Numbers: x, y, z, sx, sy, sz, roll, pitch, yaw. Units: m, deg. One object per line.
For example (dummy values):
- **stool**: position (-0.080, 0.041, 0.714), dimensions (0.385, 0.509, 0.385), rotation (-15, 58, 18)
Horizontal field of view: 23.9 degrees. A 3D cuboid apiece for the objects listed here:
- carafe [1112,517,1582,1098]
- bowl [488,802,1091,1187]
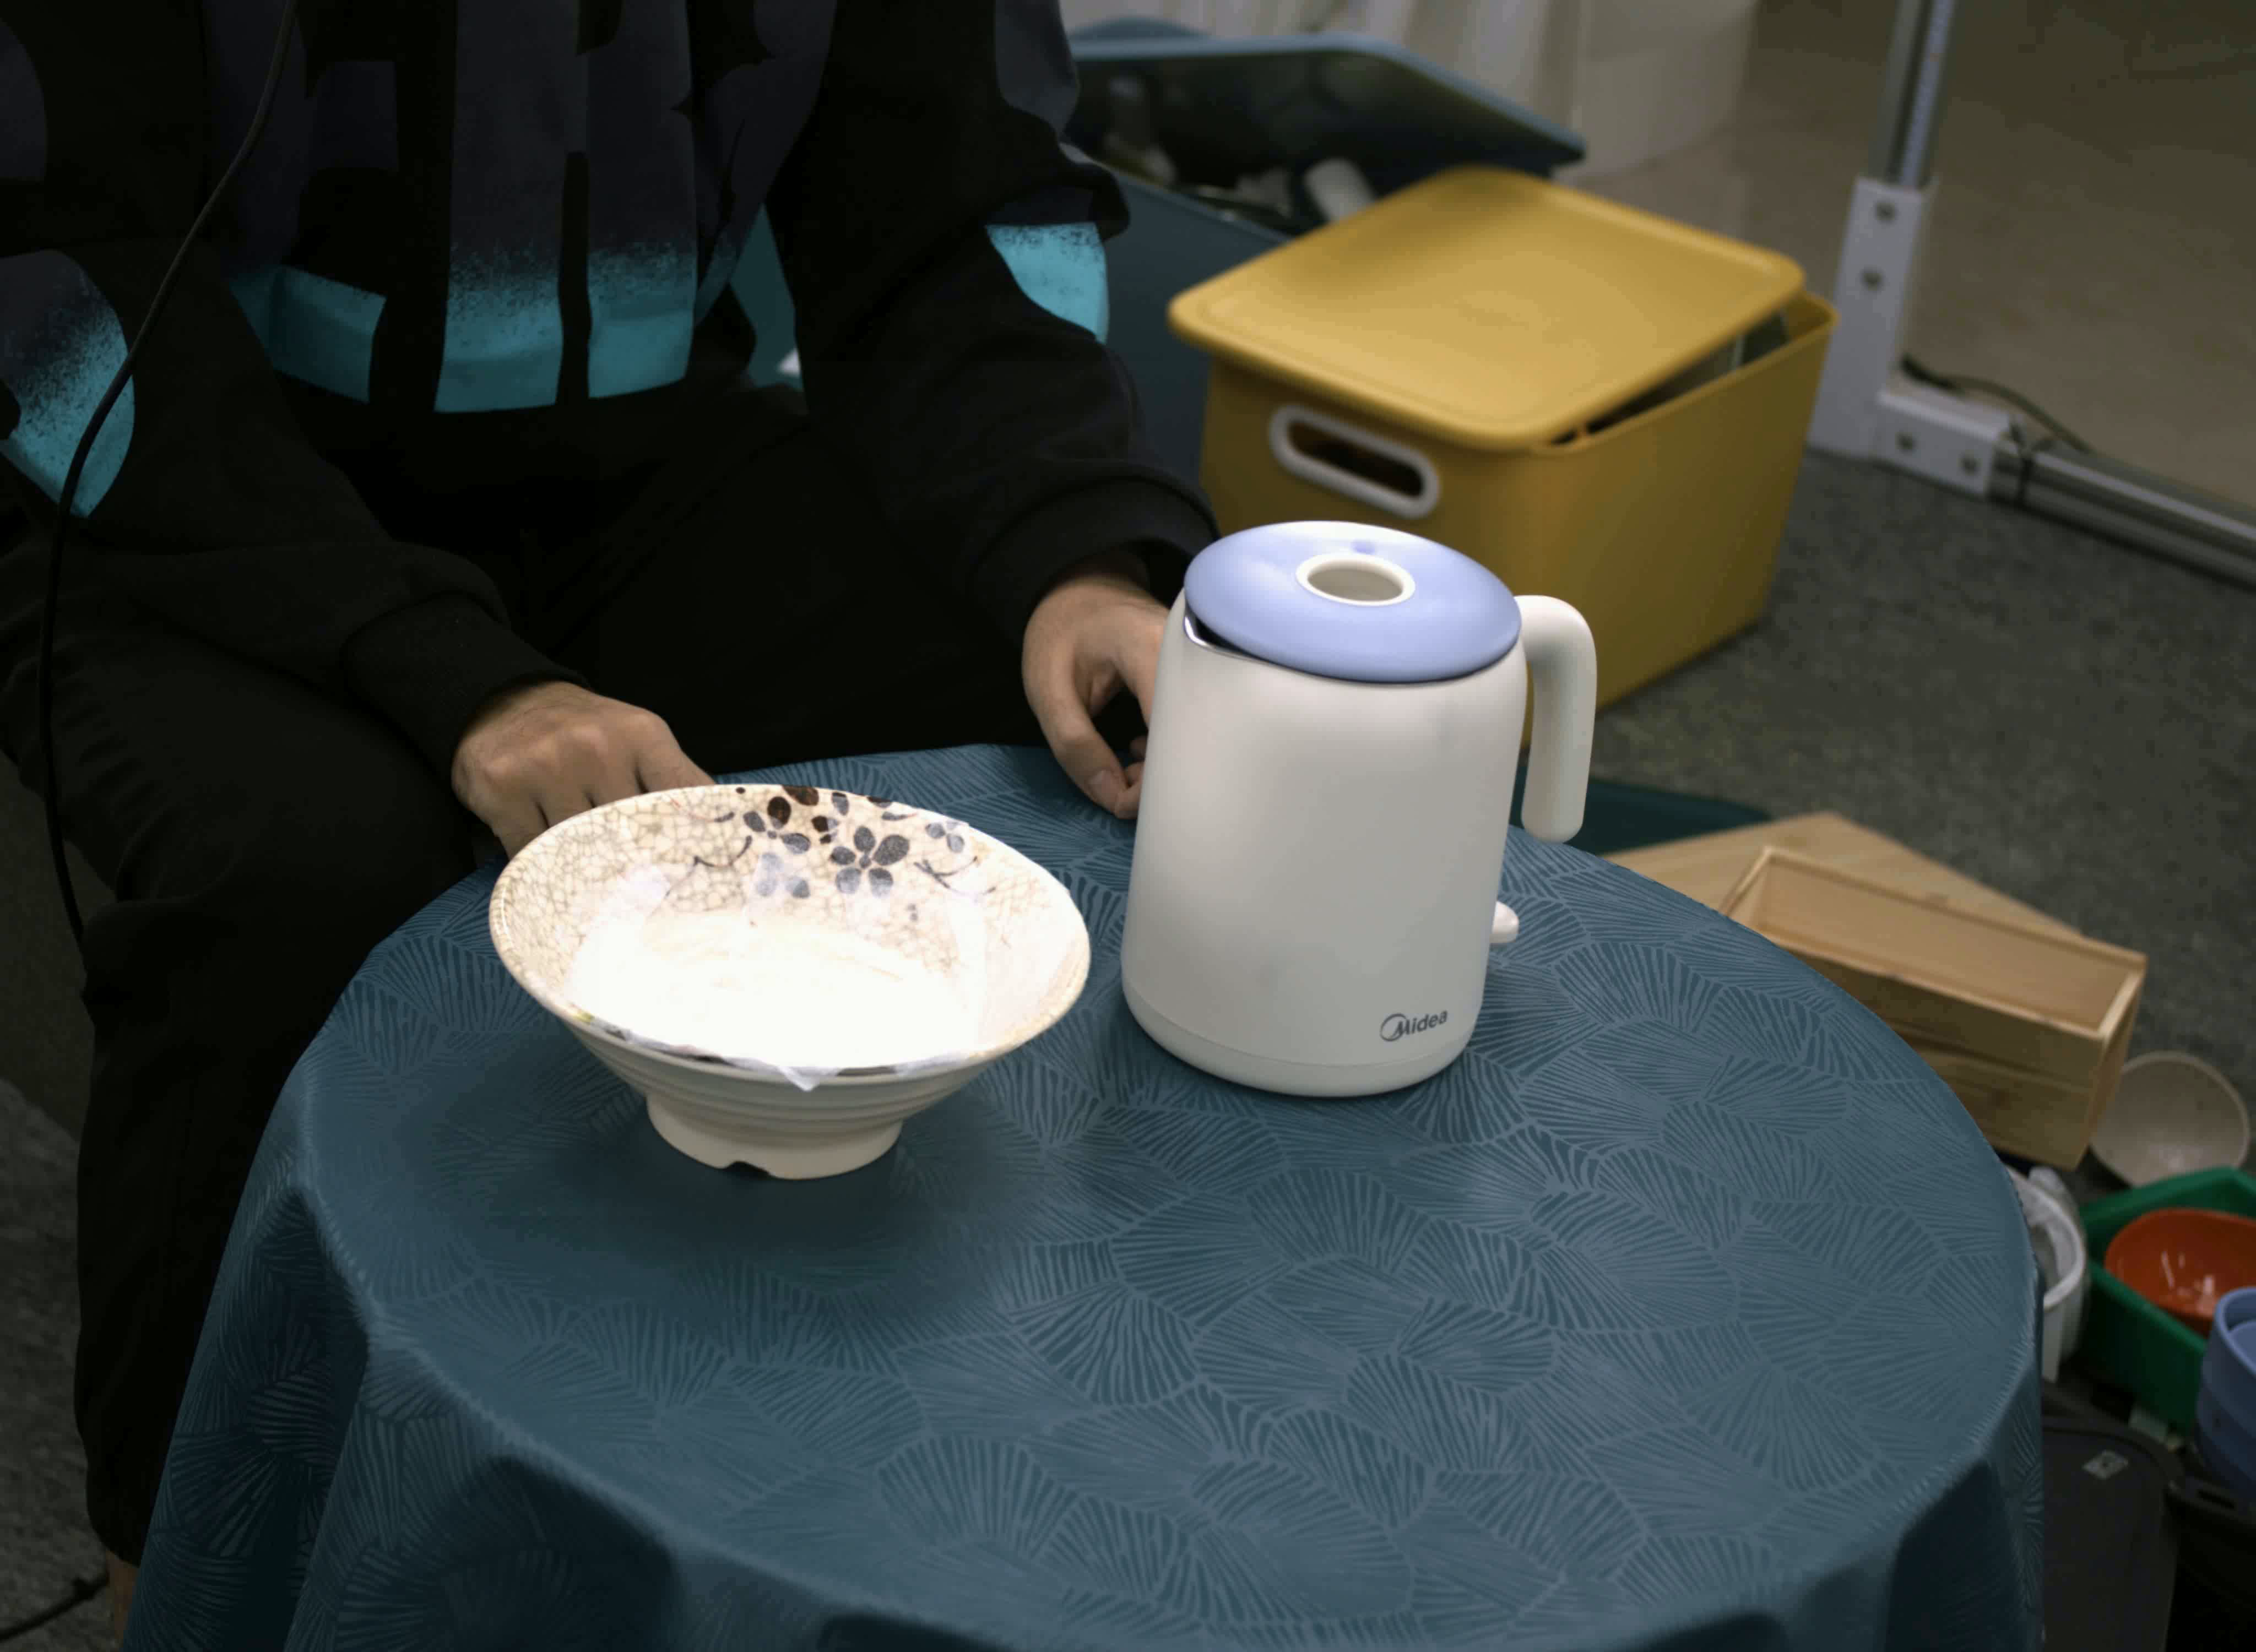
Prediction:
- **carafe**: position (0.087, -0.011, 1.896), dimensions (0.190, 0.182, 0.133), rotation (-11, 33, -36)
- **bowl**: position (-0.116, 0.068, 1.801), dimensions (0.203, 0.078, 0.205), rotation (4, 24, -2)
